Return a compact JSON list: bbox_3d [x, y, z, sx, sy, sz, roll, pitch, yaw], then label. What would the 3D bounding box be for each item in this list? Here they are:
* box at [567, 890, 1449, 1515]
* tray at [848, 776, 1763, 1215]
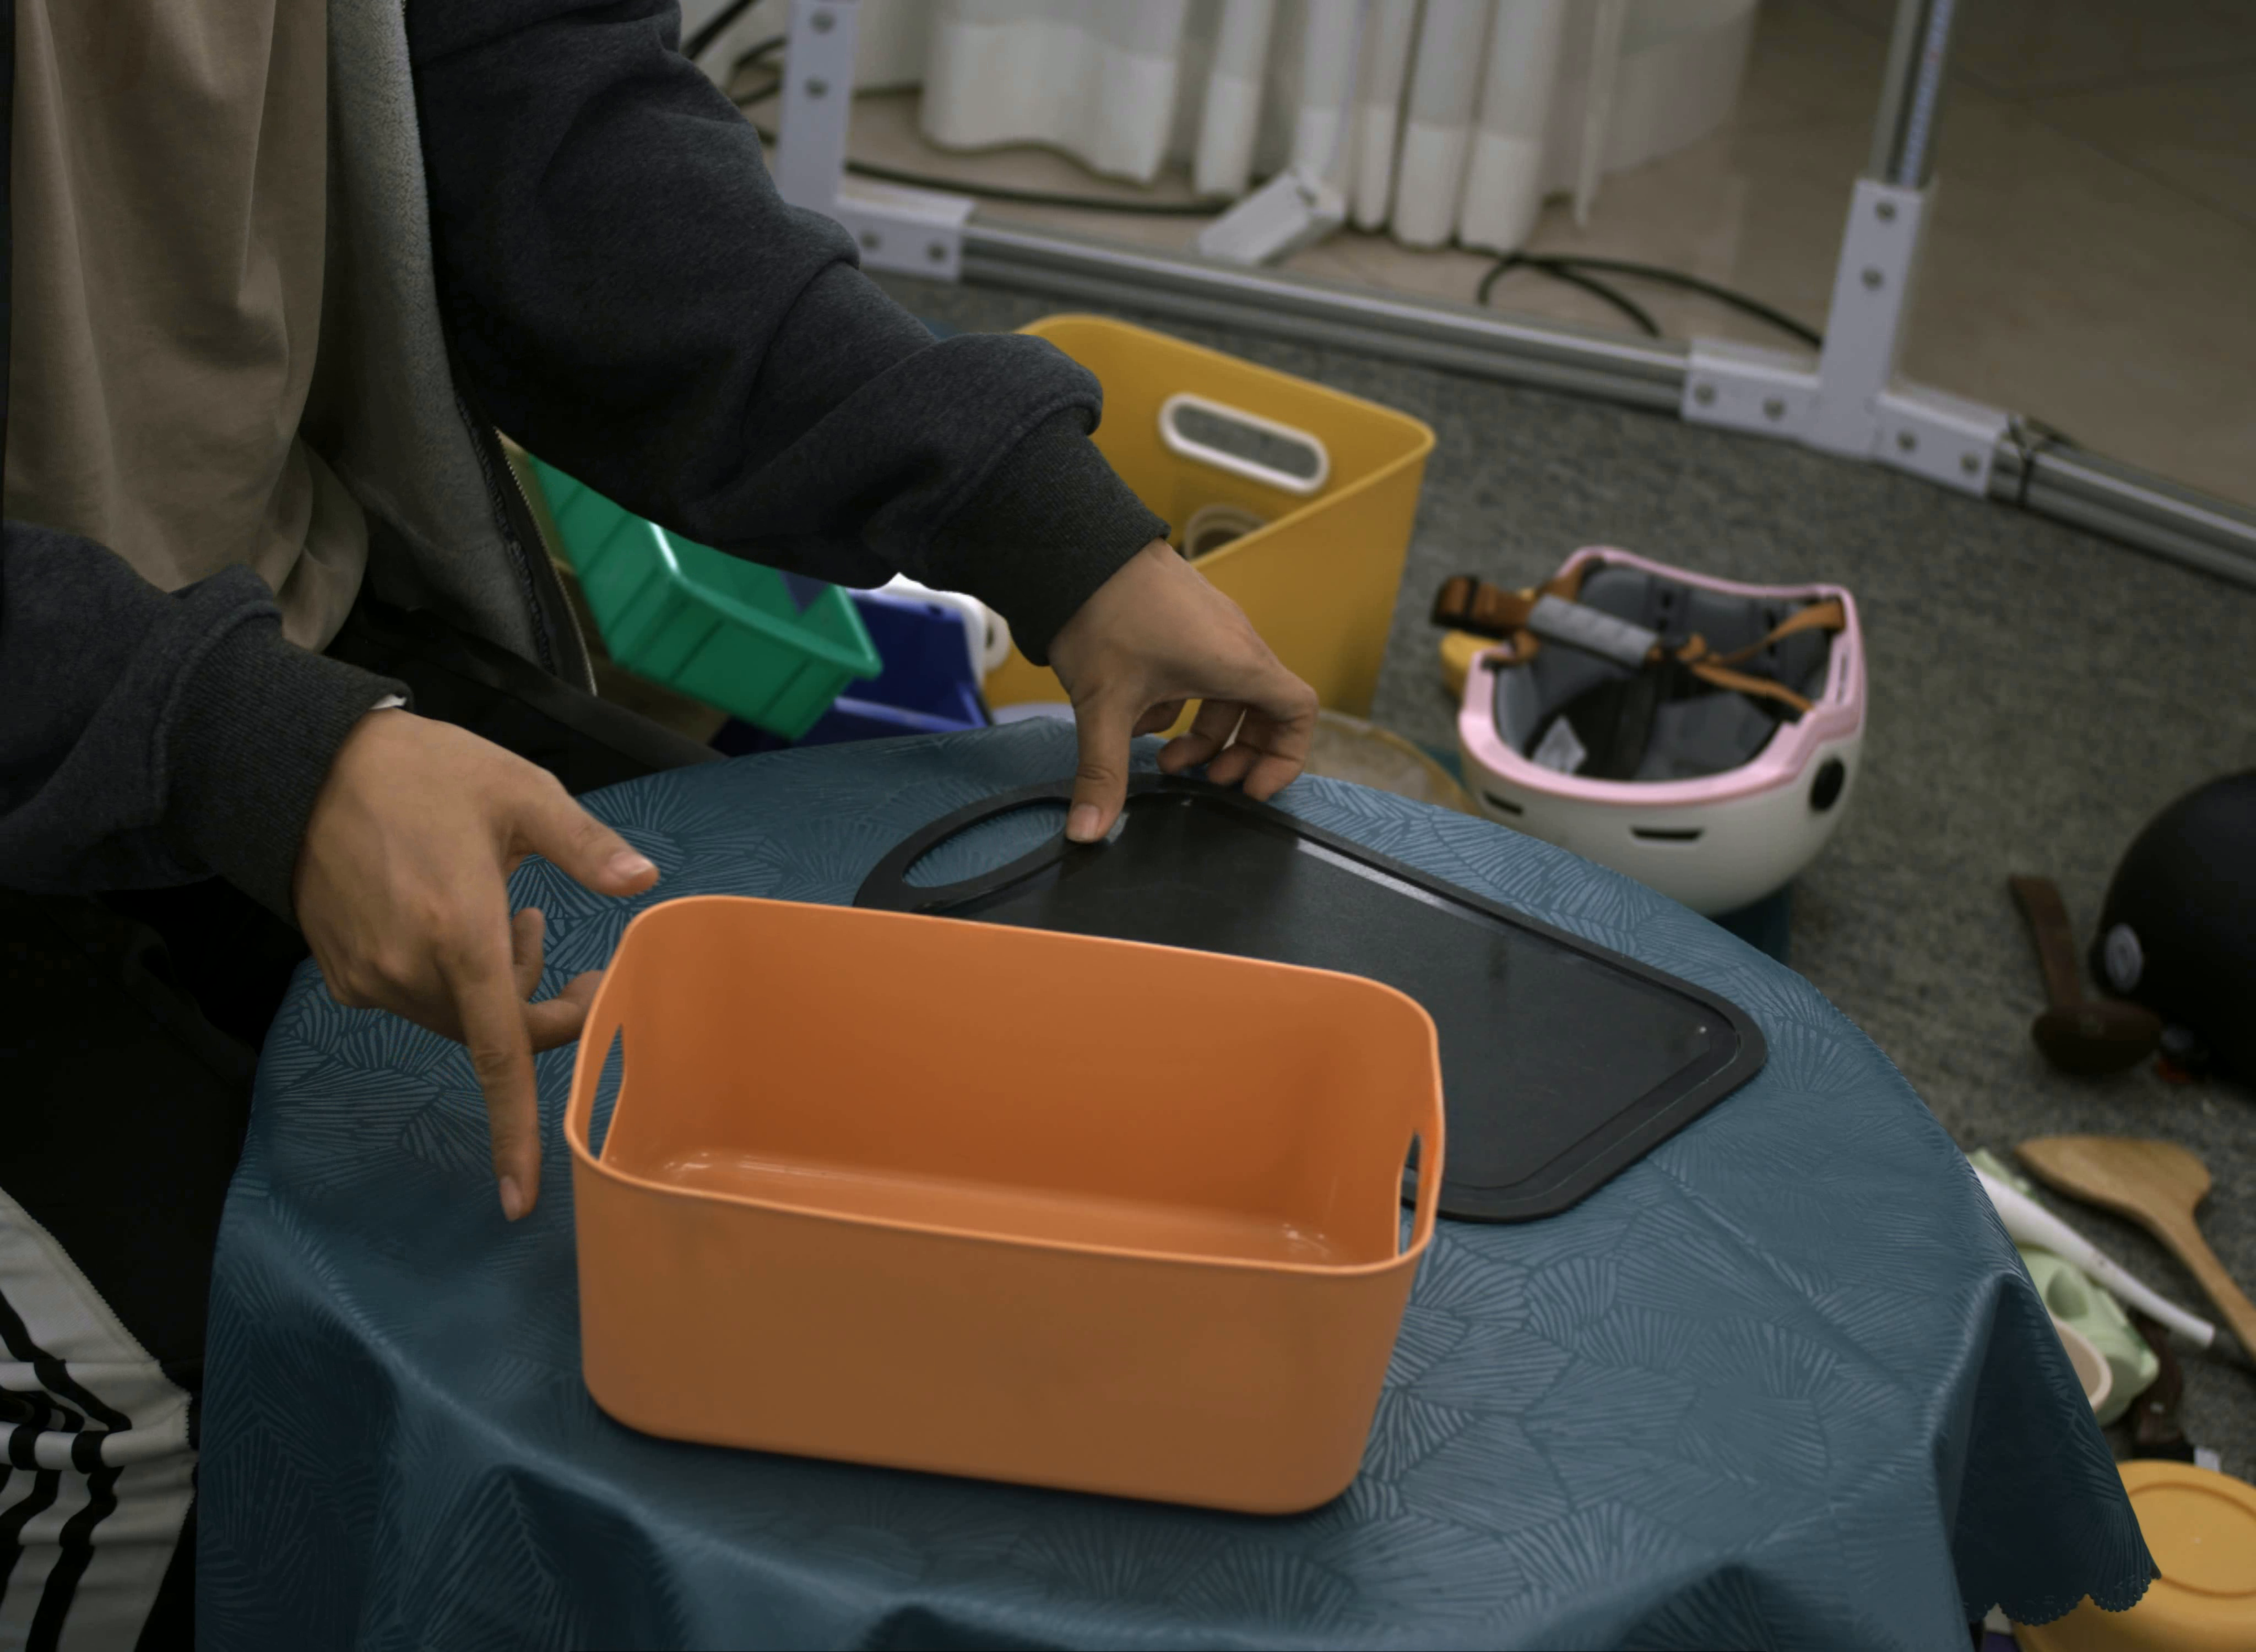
[{"bbox_3d":[-0.040,0.120,1.686,0.272,0.102,0.200,7,27,1],"label":"box"},{"bbox_3d":[0.057,0.054,1.945,0.327,0.010,0.210,23,31,29],"label":"tray"}]
